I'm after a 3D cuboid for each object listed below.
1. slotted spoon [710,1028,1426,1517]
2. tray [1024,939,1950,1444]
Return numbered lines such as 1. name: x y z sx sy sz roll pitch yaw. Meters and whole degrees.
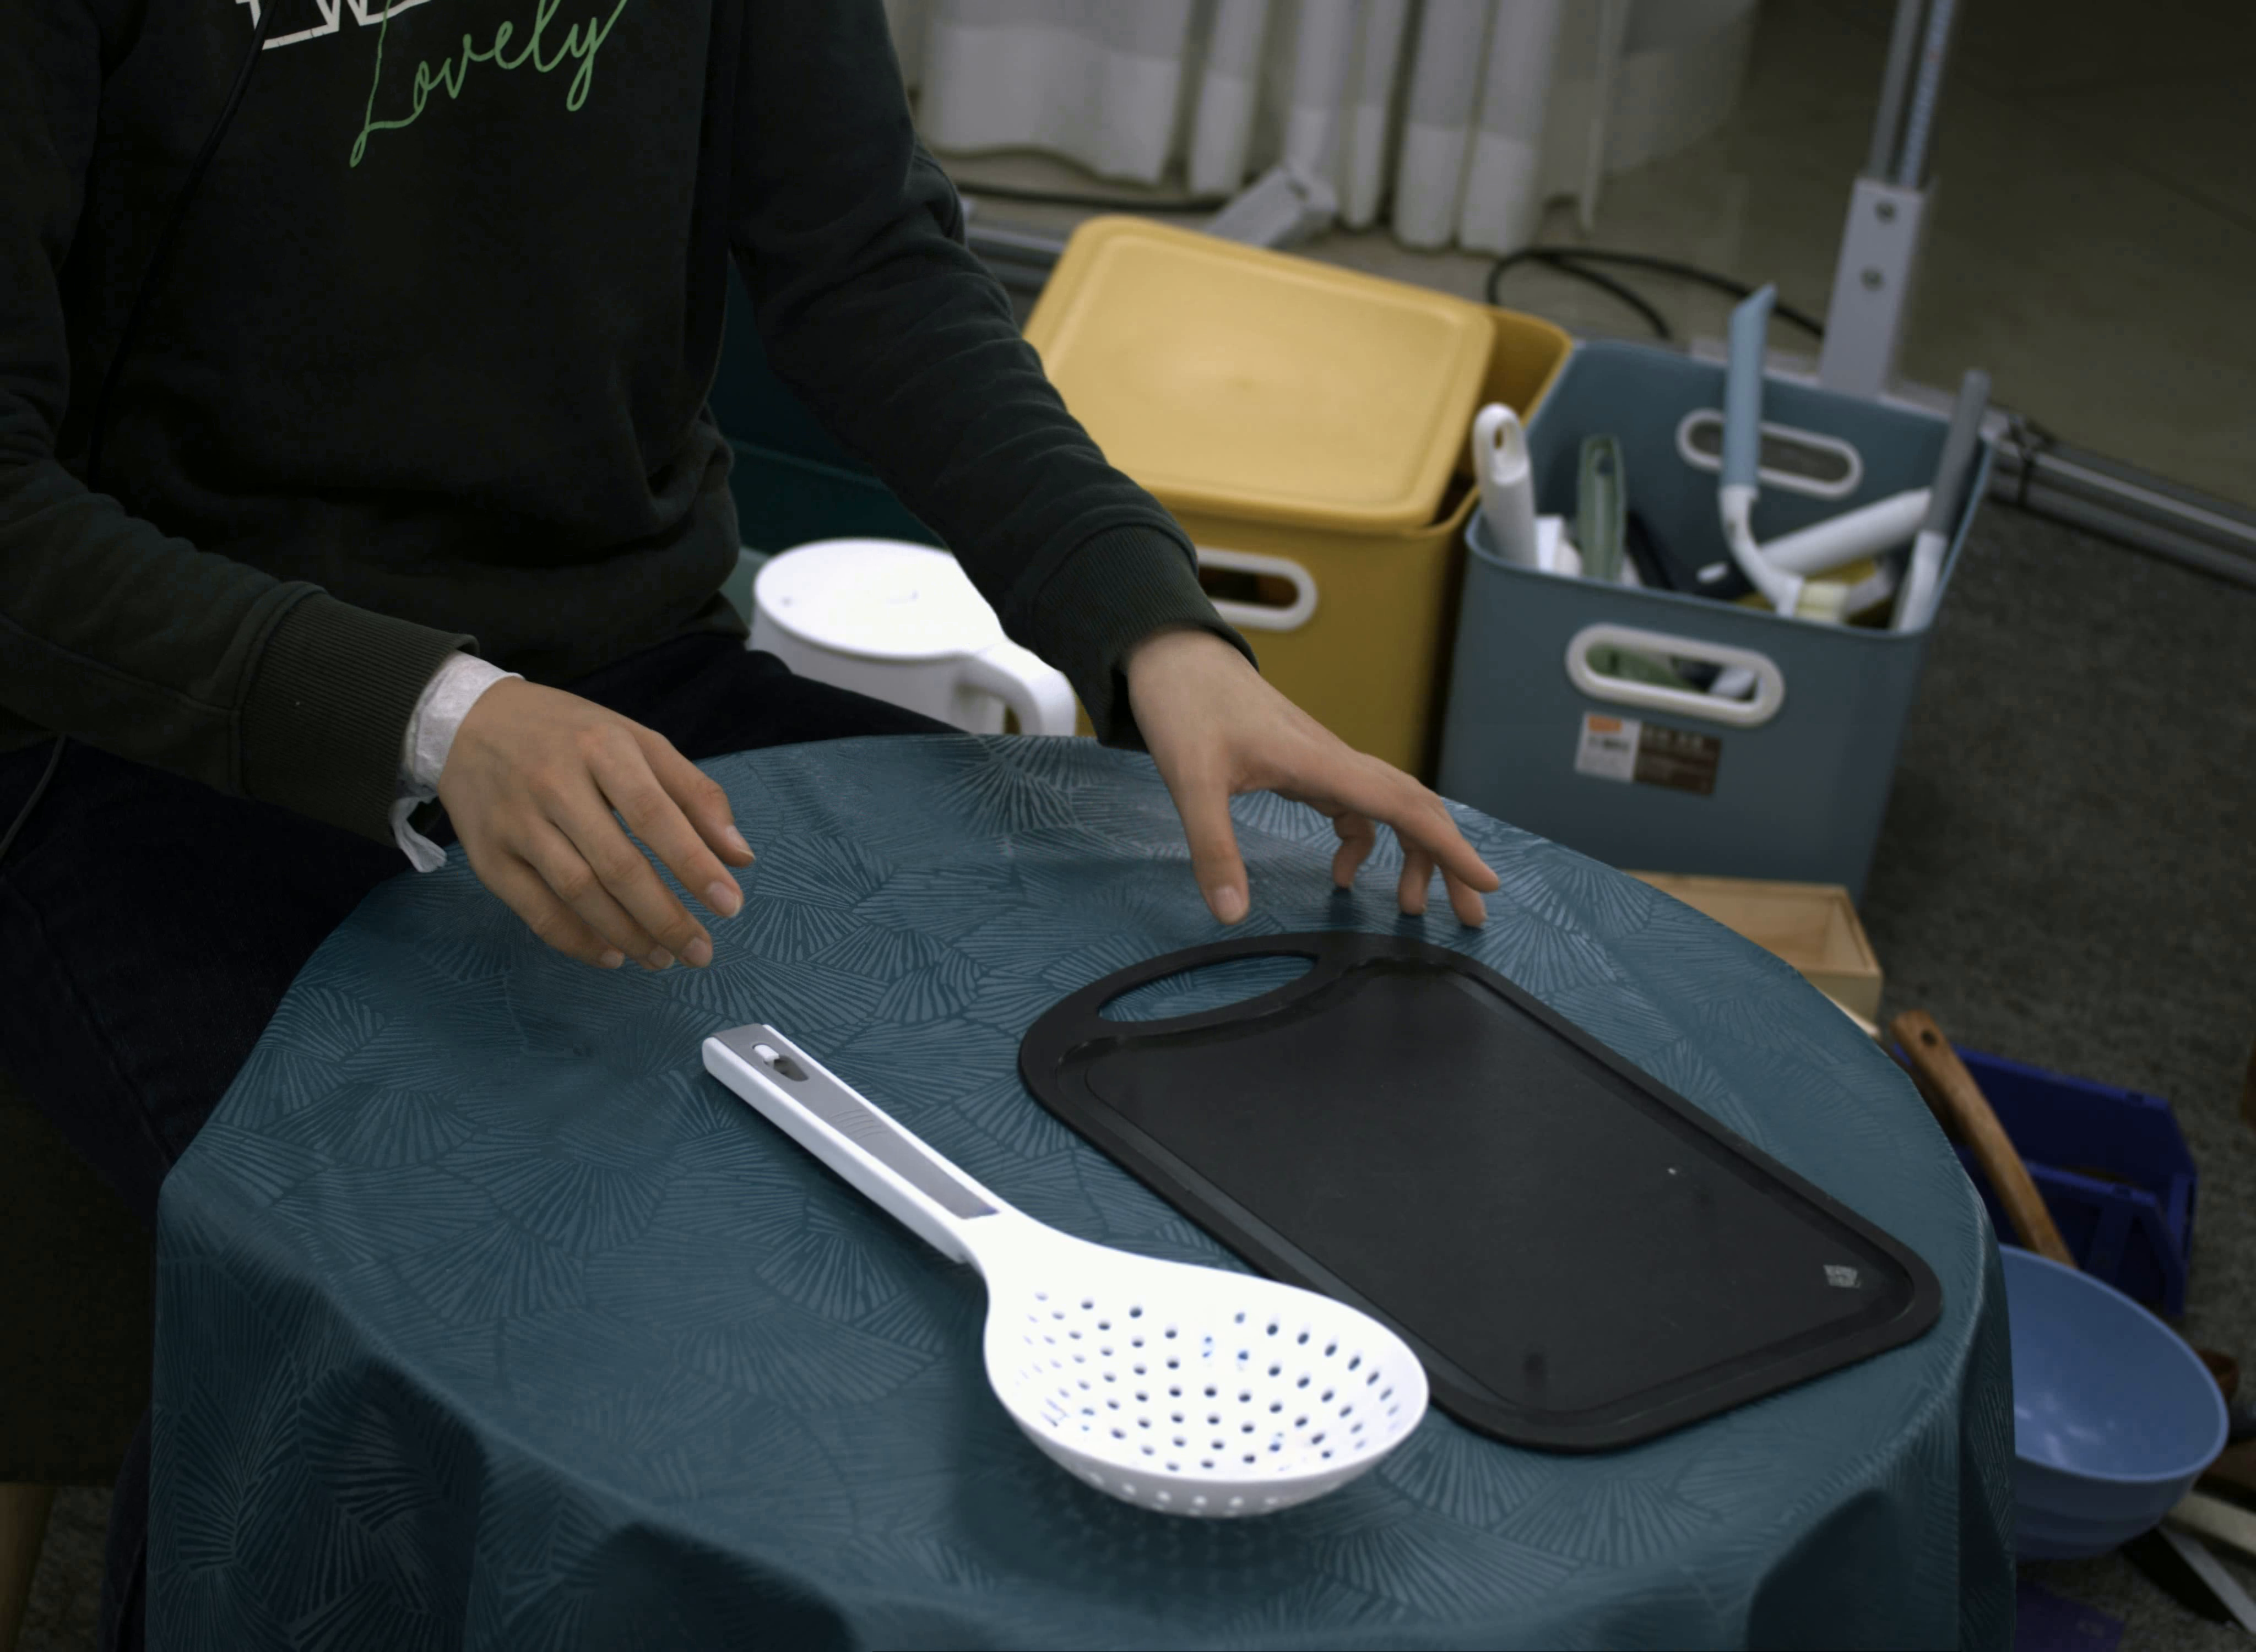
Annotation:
1. slotted spoon: -0.038 0.137 1.714 0.135 0.045 0.353 -10 30 -33
2. tray: 0.114 0.116 1.834 0.210 0.010 0.328 -14 33 -35
